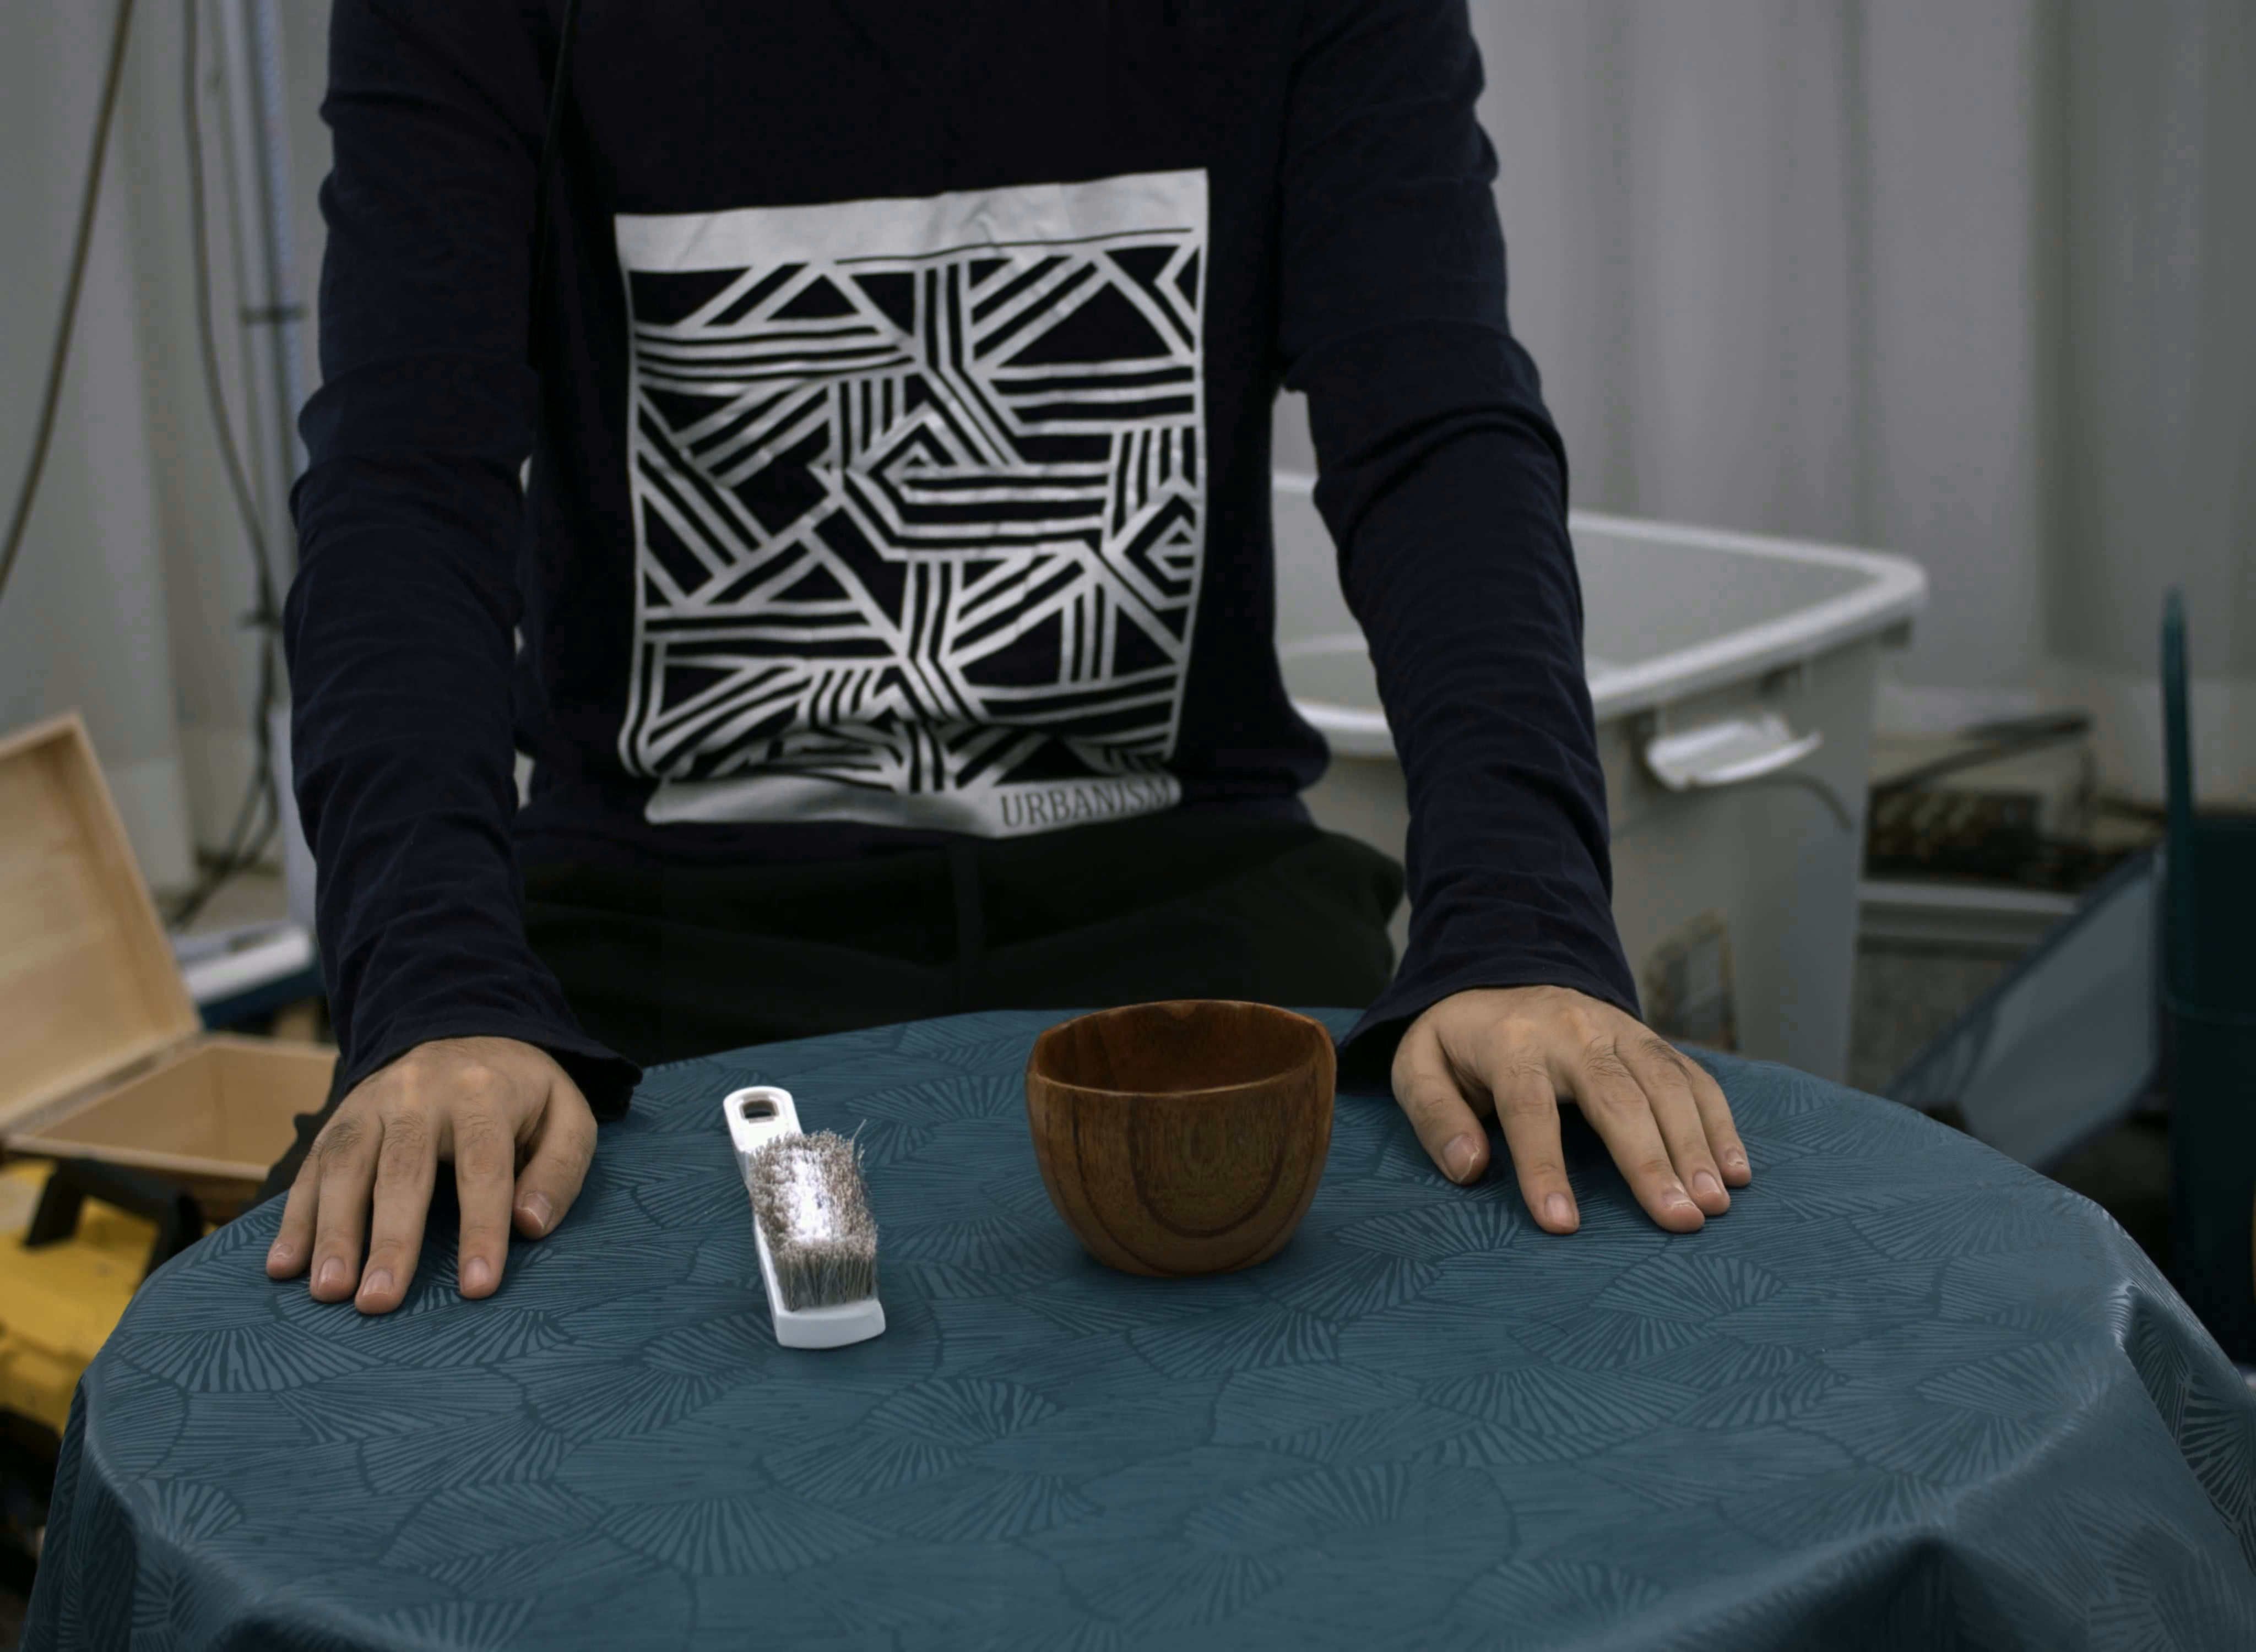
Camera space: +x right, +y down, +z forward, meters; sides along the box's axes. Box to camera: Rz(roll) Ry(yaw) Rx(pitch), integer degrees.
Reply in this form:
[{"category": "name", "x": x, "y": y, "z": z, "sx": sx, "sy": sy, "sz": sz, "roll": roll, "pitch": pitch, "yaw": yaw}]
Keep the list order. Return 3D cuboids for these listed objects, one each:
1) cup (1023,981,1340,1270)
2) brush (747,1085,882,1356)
[{"category": "cup", "x": 0.018, "y": 0.089, "z": 1.669, "sx": 0.096, "sy": 0.067, "sz": 0.120, "roll": -5, "pitch": 17, "yaw": 2}, {"category": "brush", "x": -0.102, "y": 0.102, "z": 1.691, "sx": 0.034, "sy": 0.050, "sz": 0.245, "roll": -9, "pitch": 16, "yaw": -4}]
